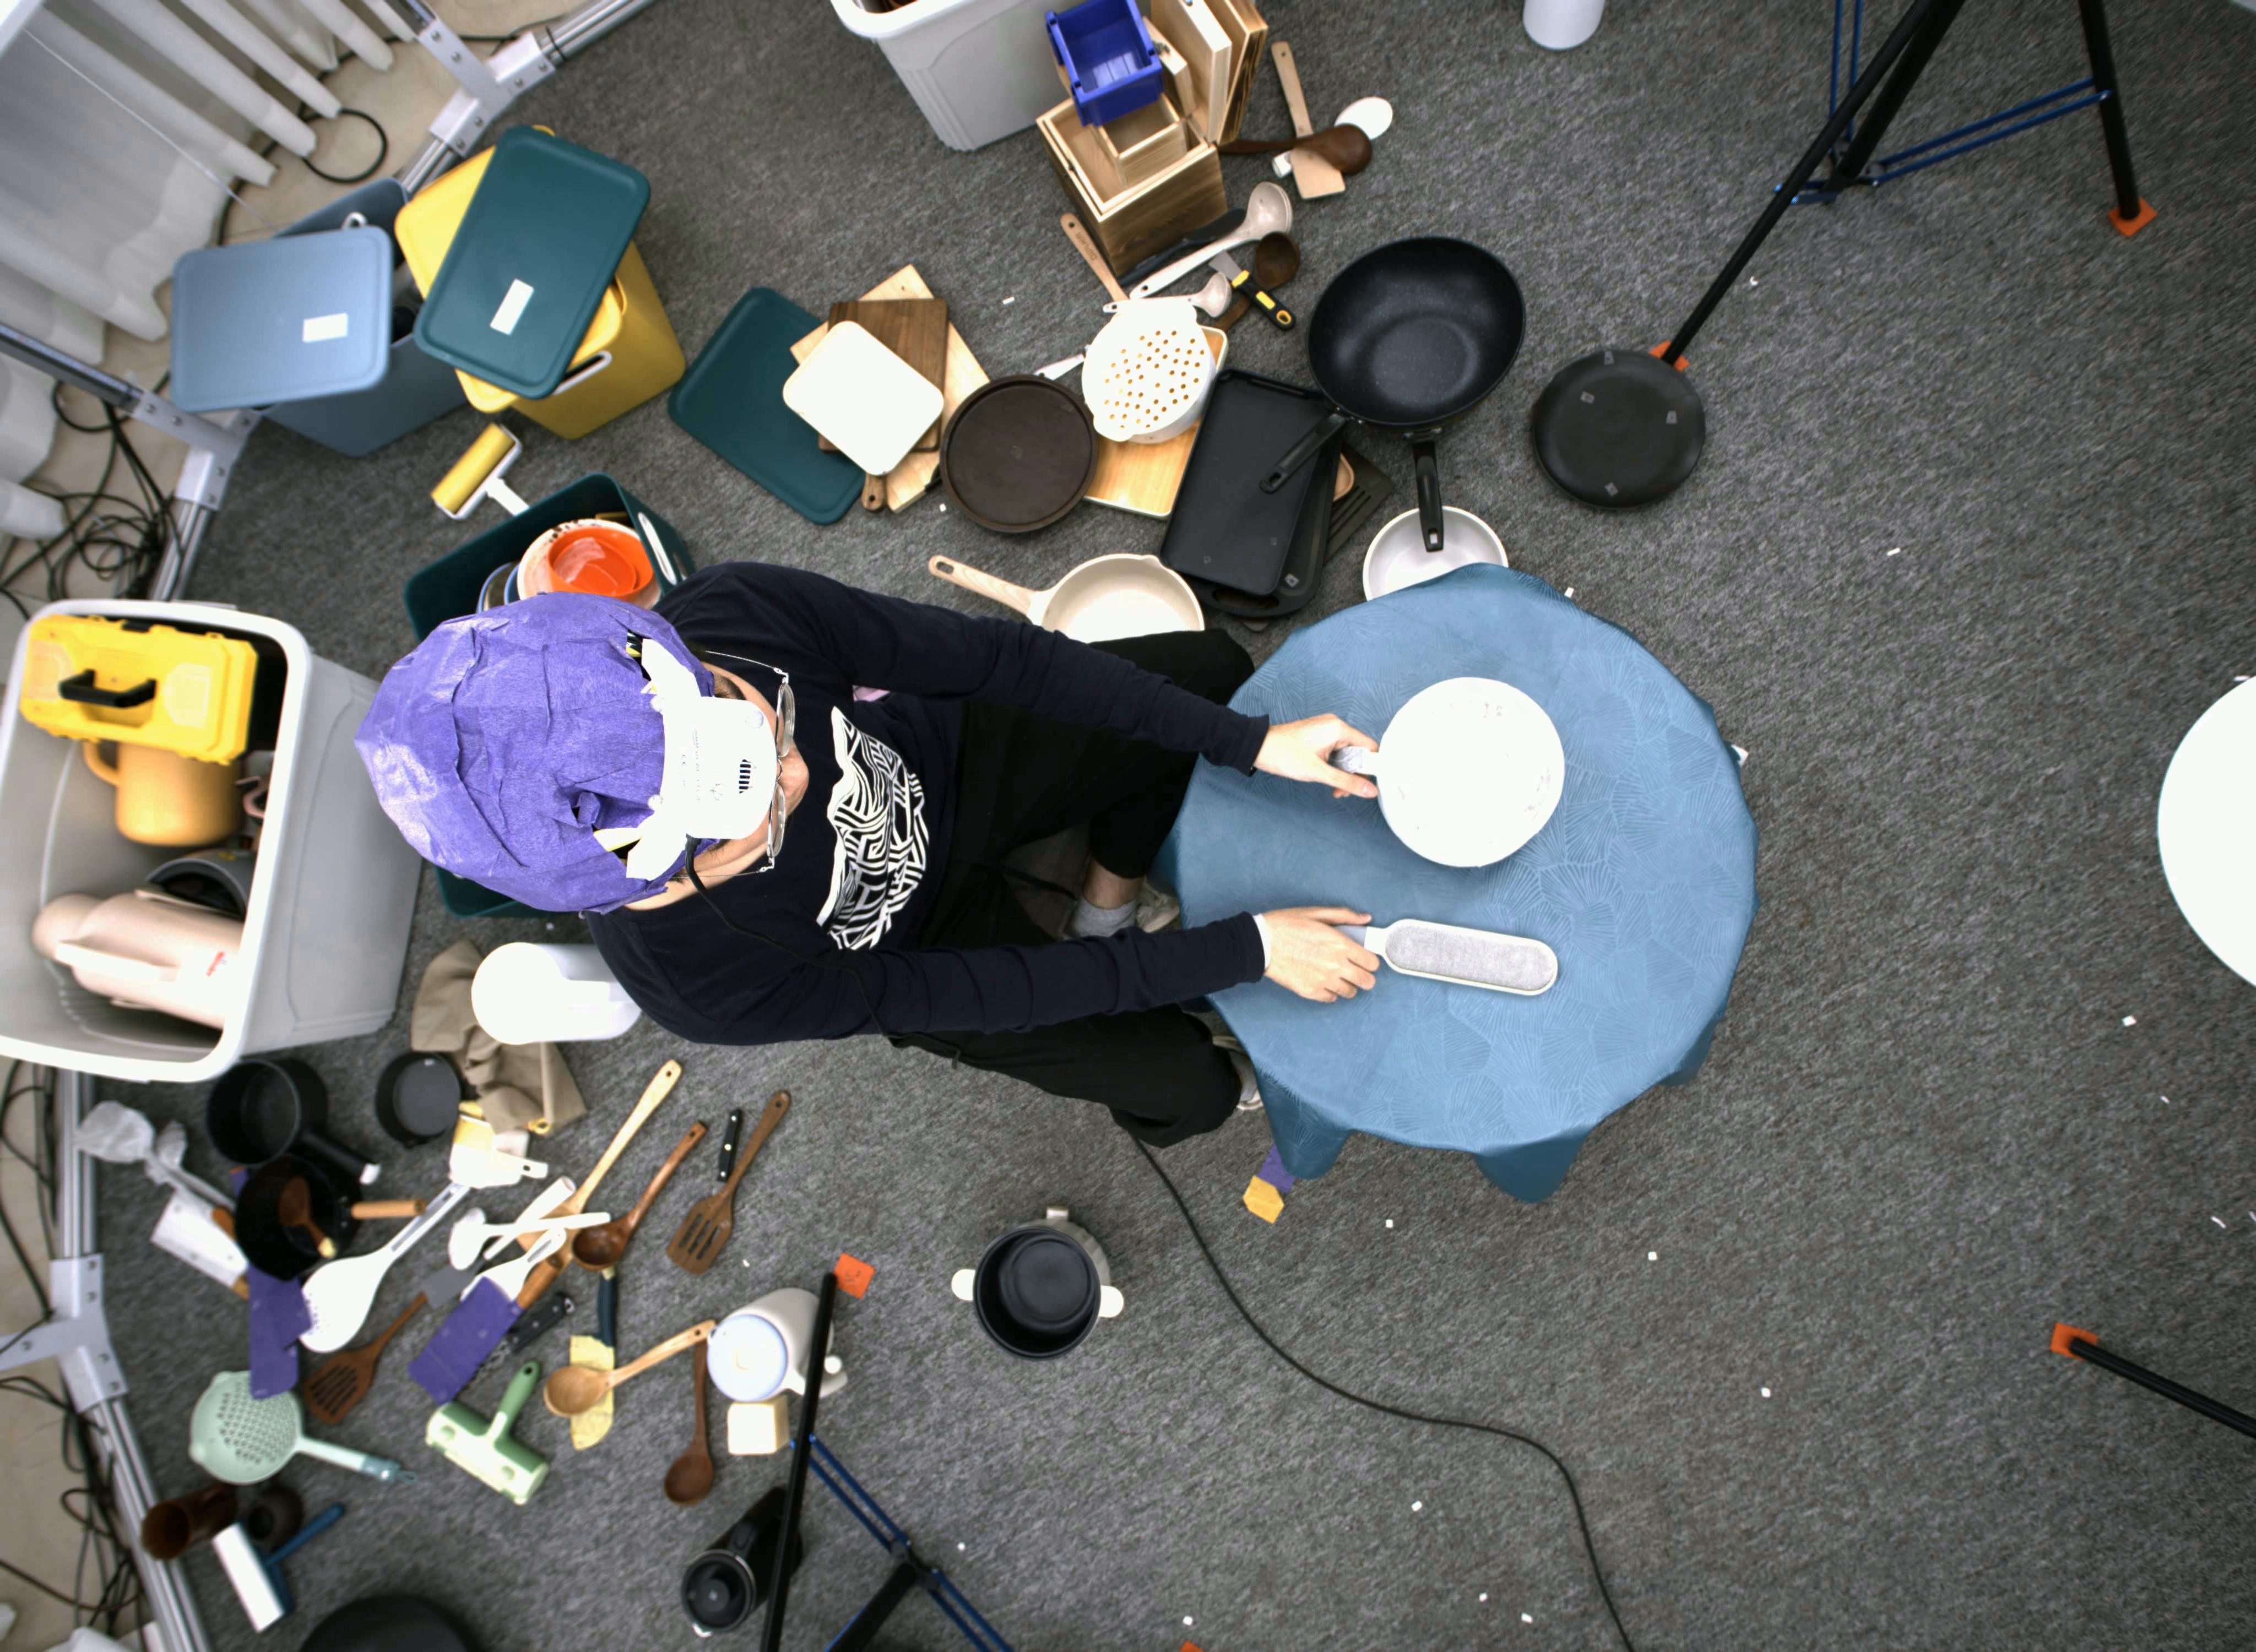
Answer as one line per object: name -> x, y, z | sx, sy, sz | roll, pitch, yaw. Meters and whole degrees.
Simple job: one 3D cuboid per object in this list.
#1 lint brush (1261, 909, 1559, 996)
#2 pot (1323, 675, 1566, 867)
lint brush -> 0.291, 0.122, 1.440 | 0.309, 0.021, 0.060 | 10, 94, 11
pot -> 0.313, -0.054, 1.387 | 0.234, 0.137, 0.177 | 5, 84, 10
